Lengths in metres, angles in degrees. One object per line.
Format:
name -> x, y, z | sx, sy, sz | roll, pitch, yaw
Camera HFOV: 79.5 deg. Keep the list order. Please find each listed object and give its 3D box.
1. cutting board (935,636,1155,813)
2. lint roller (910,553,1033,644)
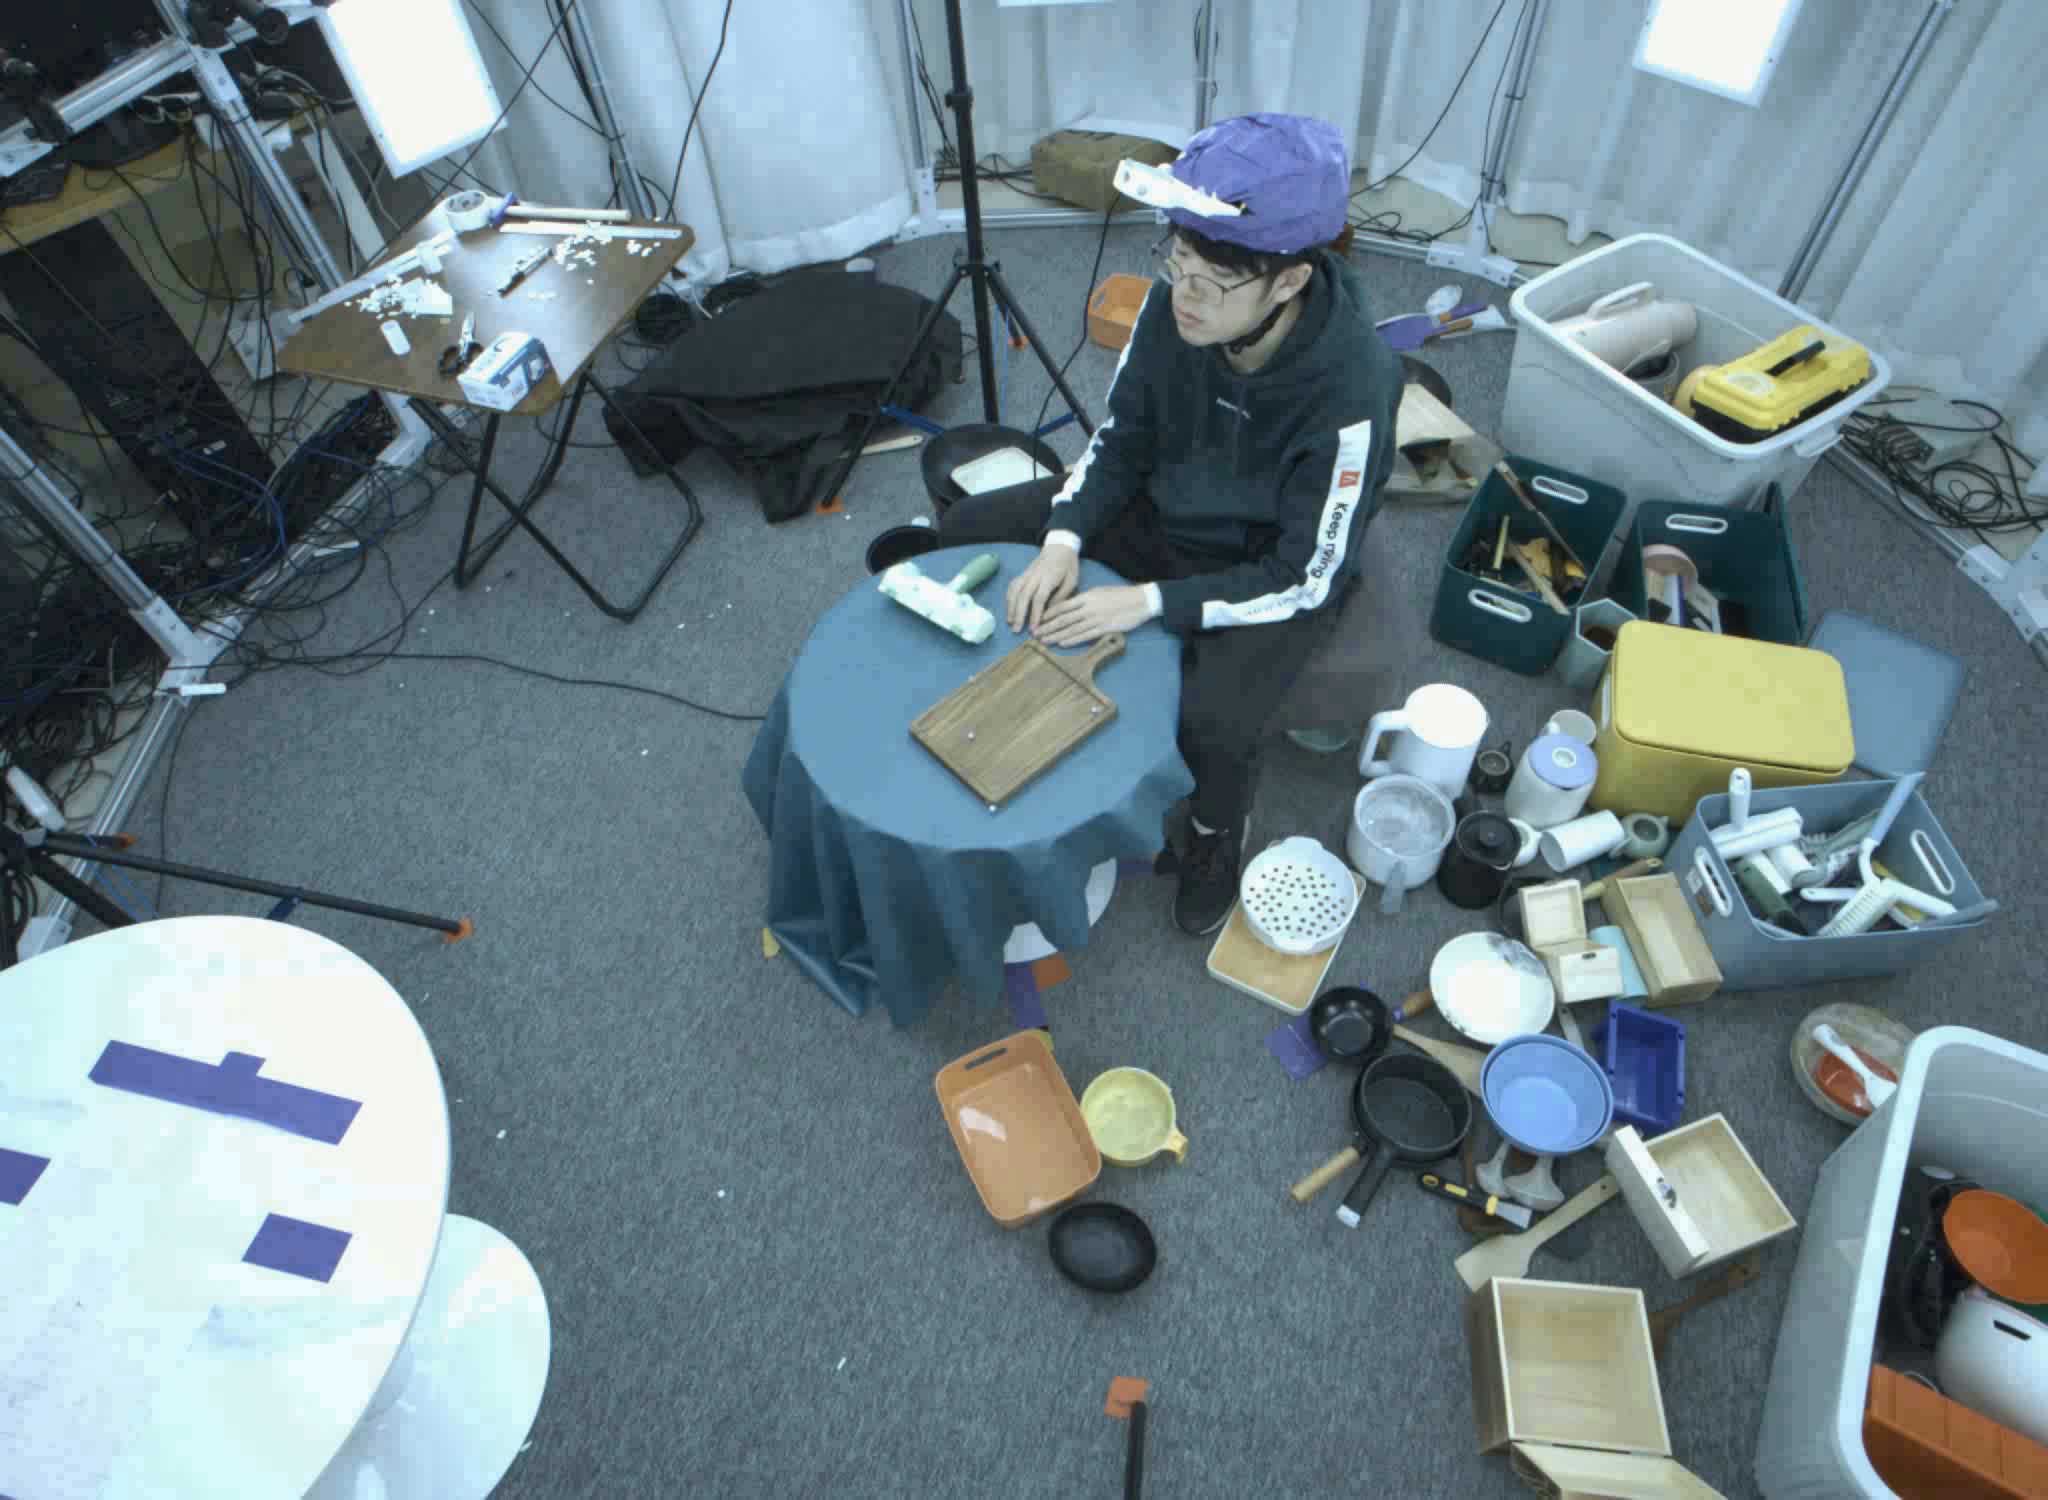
cutting board -> 0.063, -0.066, 1.816 | 0.355, 0.023, 0.197 | -36, 61, -22
lint roller -> -0.052, -0.270, 1.929 | 0.195, 0.083, 0.184 | 33, 66, 23
